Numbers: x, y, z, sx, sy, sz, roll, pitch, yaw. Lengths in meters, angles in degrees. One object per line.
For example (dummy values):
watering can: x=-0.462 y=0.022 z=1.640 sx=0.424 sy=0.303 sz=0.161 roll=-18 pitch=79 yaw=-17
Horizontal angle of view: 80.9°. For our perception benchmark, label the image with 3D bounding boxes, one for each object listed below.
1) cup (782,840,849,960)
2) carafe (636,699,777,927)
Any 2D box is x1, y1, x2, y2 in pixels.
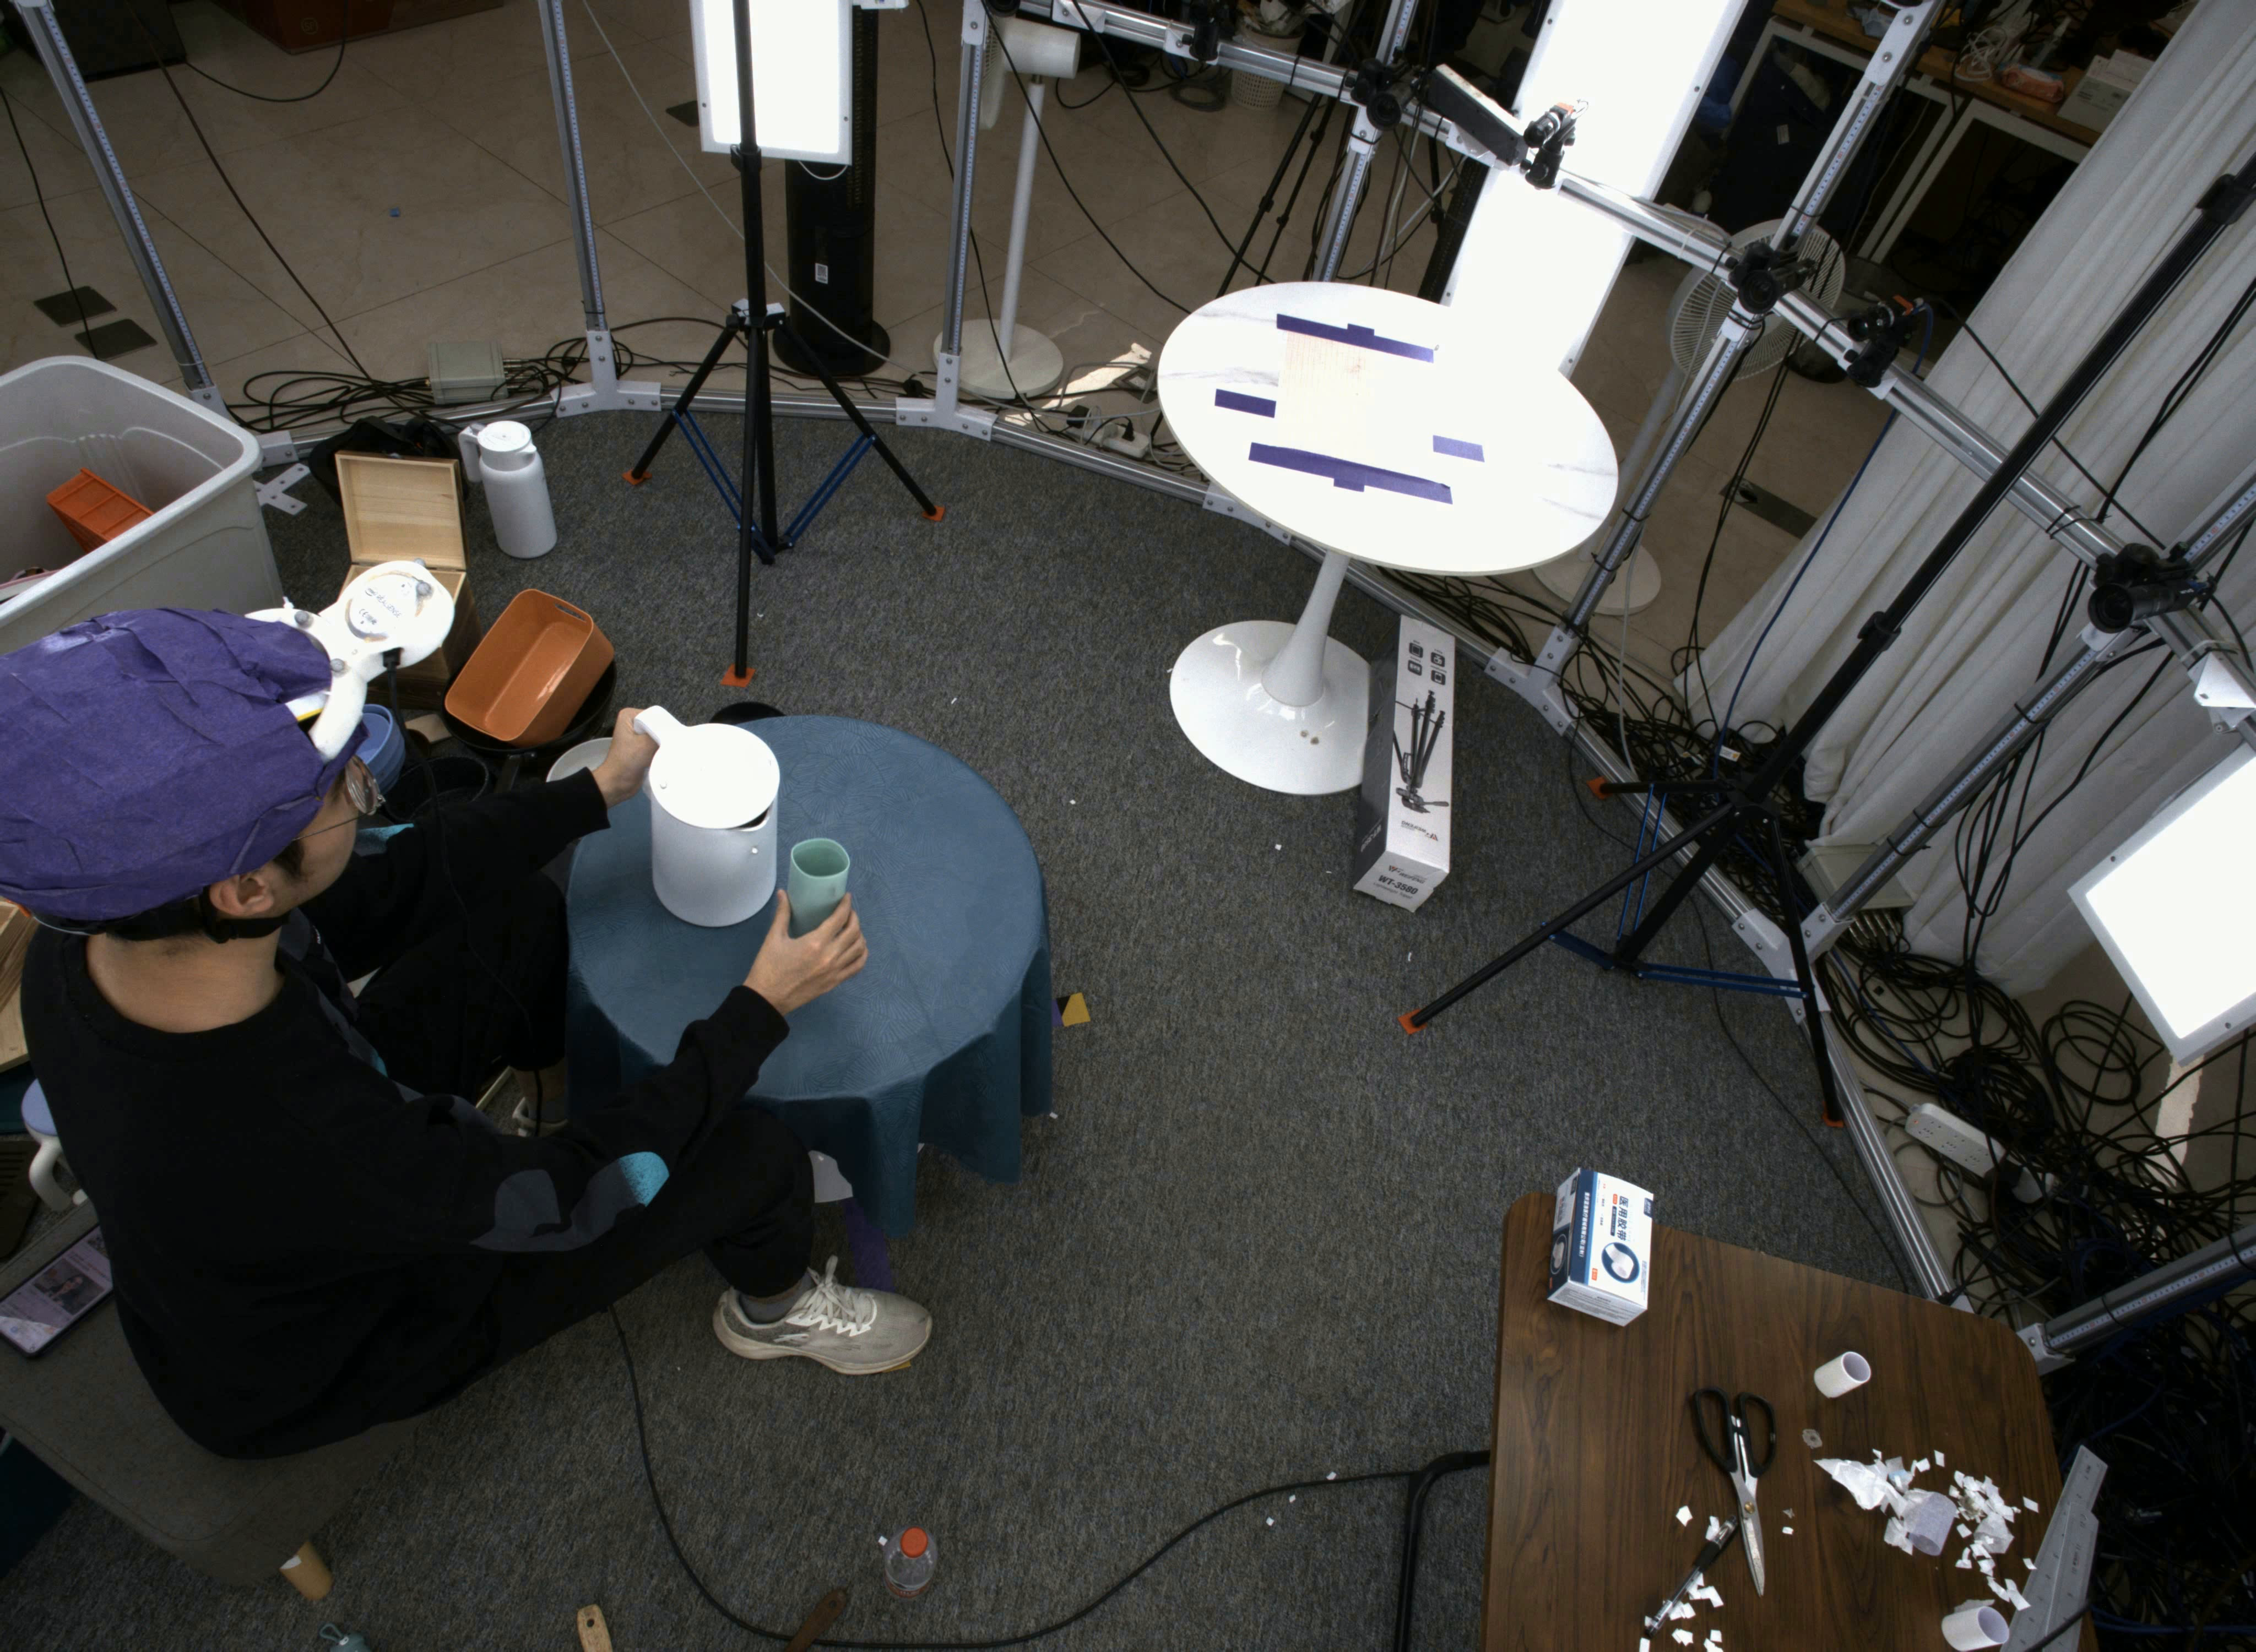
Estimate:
cup: x=-0.362 y=0.085 z=1.492 sx=0.067 sy=0.135 sz=0.065 roll=12 pitch=40 yaw=-9
carafe: x=-0.515 y=-0.021 z=1.556 sx=0.210 sy=0.243 sz=0.152 roll=43 pitch=55 yaw=10
